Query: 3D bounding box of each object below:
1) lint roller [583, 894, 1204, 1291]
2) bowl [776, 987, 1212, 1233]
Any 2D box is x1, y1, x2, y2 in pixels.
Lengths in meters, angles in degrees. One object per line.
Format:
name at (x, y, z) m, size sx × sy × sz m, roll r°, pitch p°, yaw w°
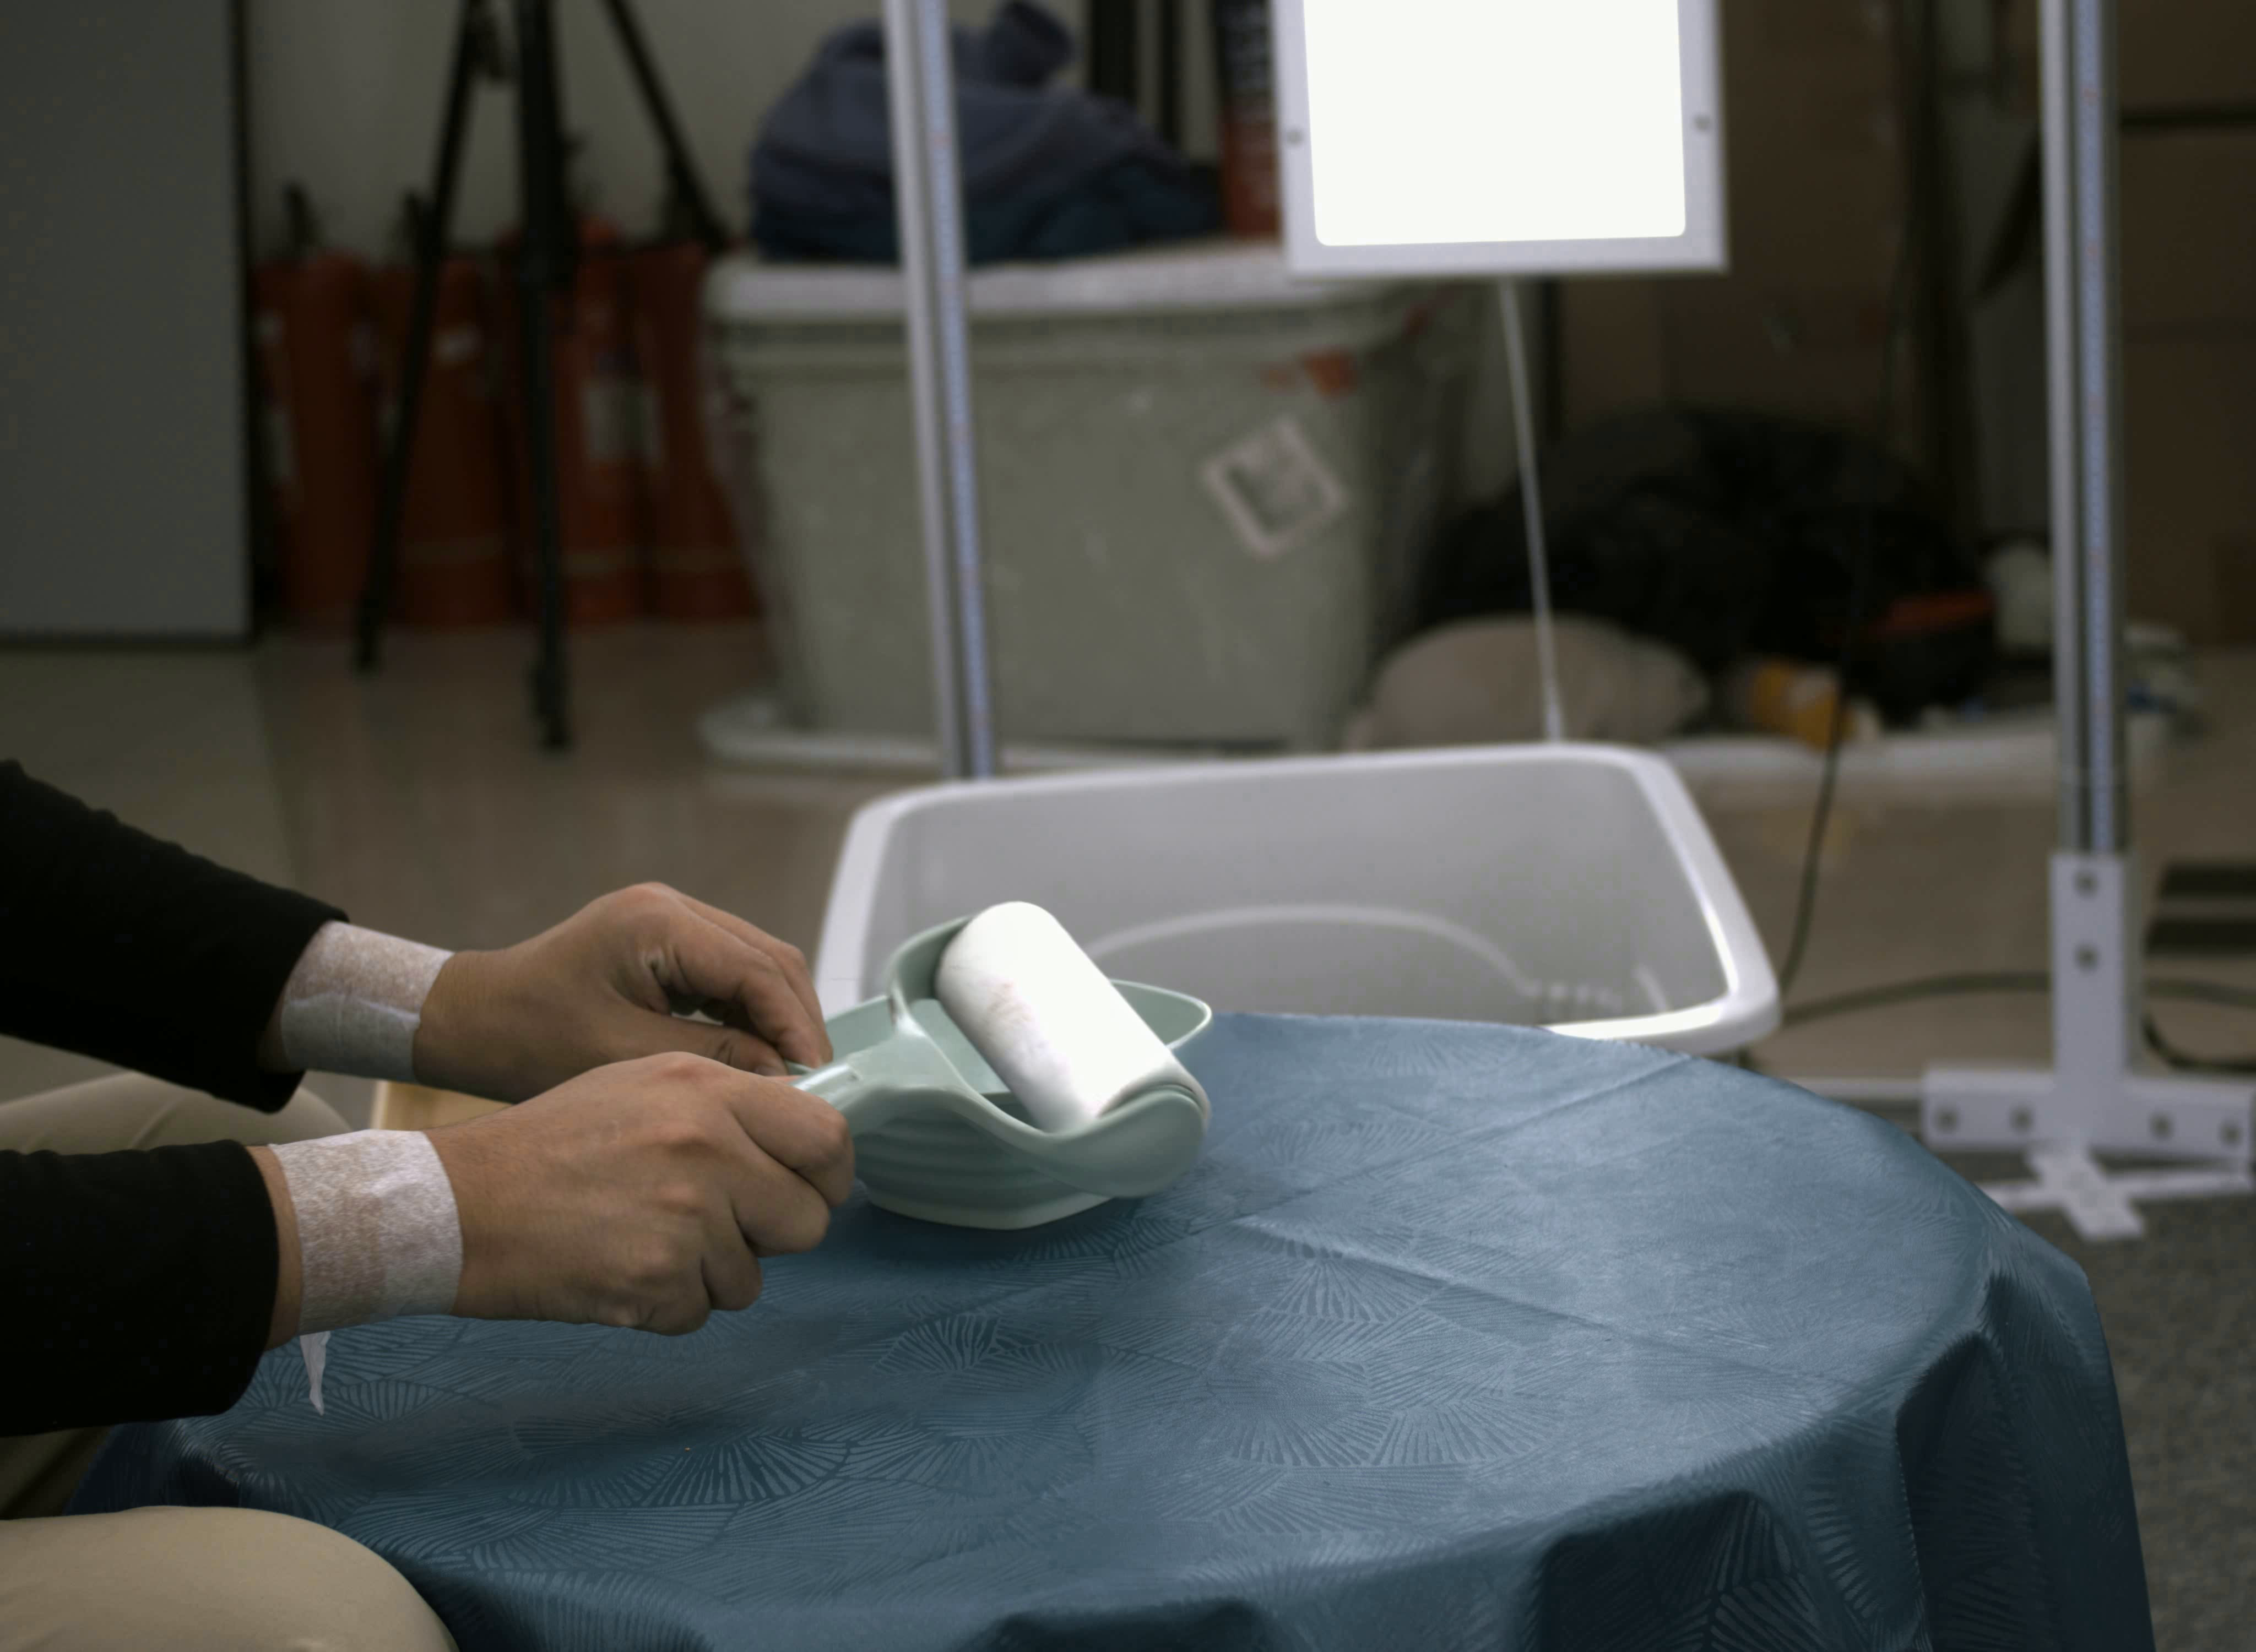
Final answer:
lint roller at (-0.085, 0.091, 1.742) m, size 0.194 × 0.049 × 0.118 m, roll -20°, pitch 42°, yaw -20°
bowl at (-0.045, 0.099, 1.908) m, size 0.151 × 0.059 × 0.151 m, roll -4°, pitch 13°, yaw -1°
